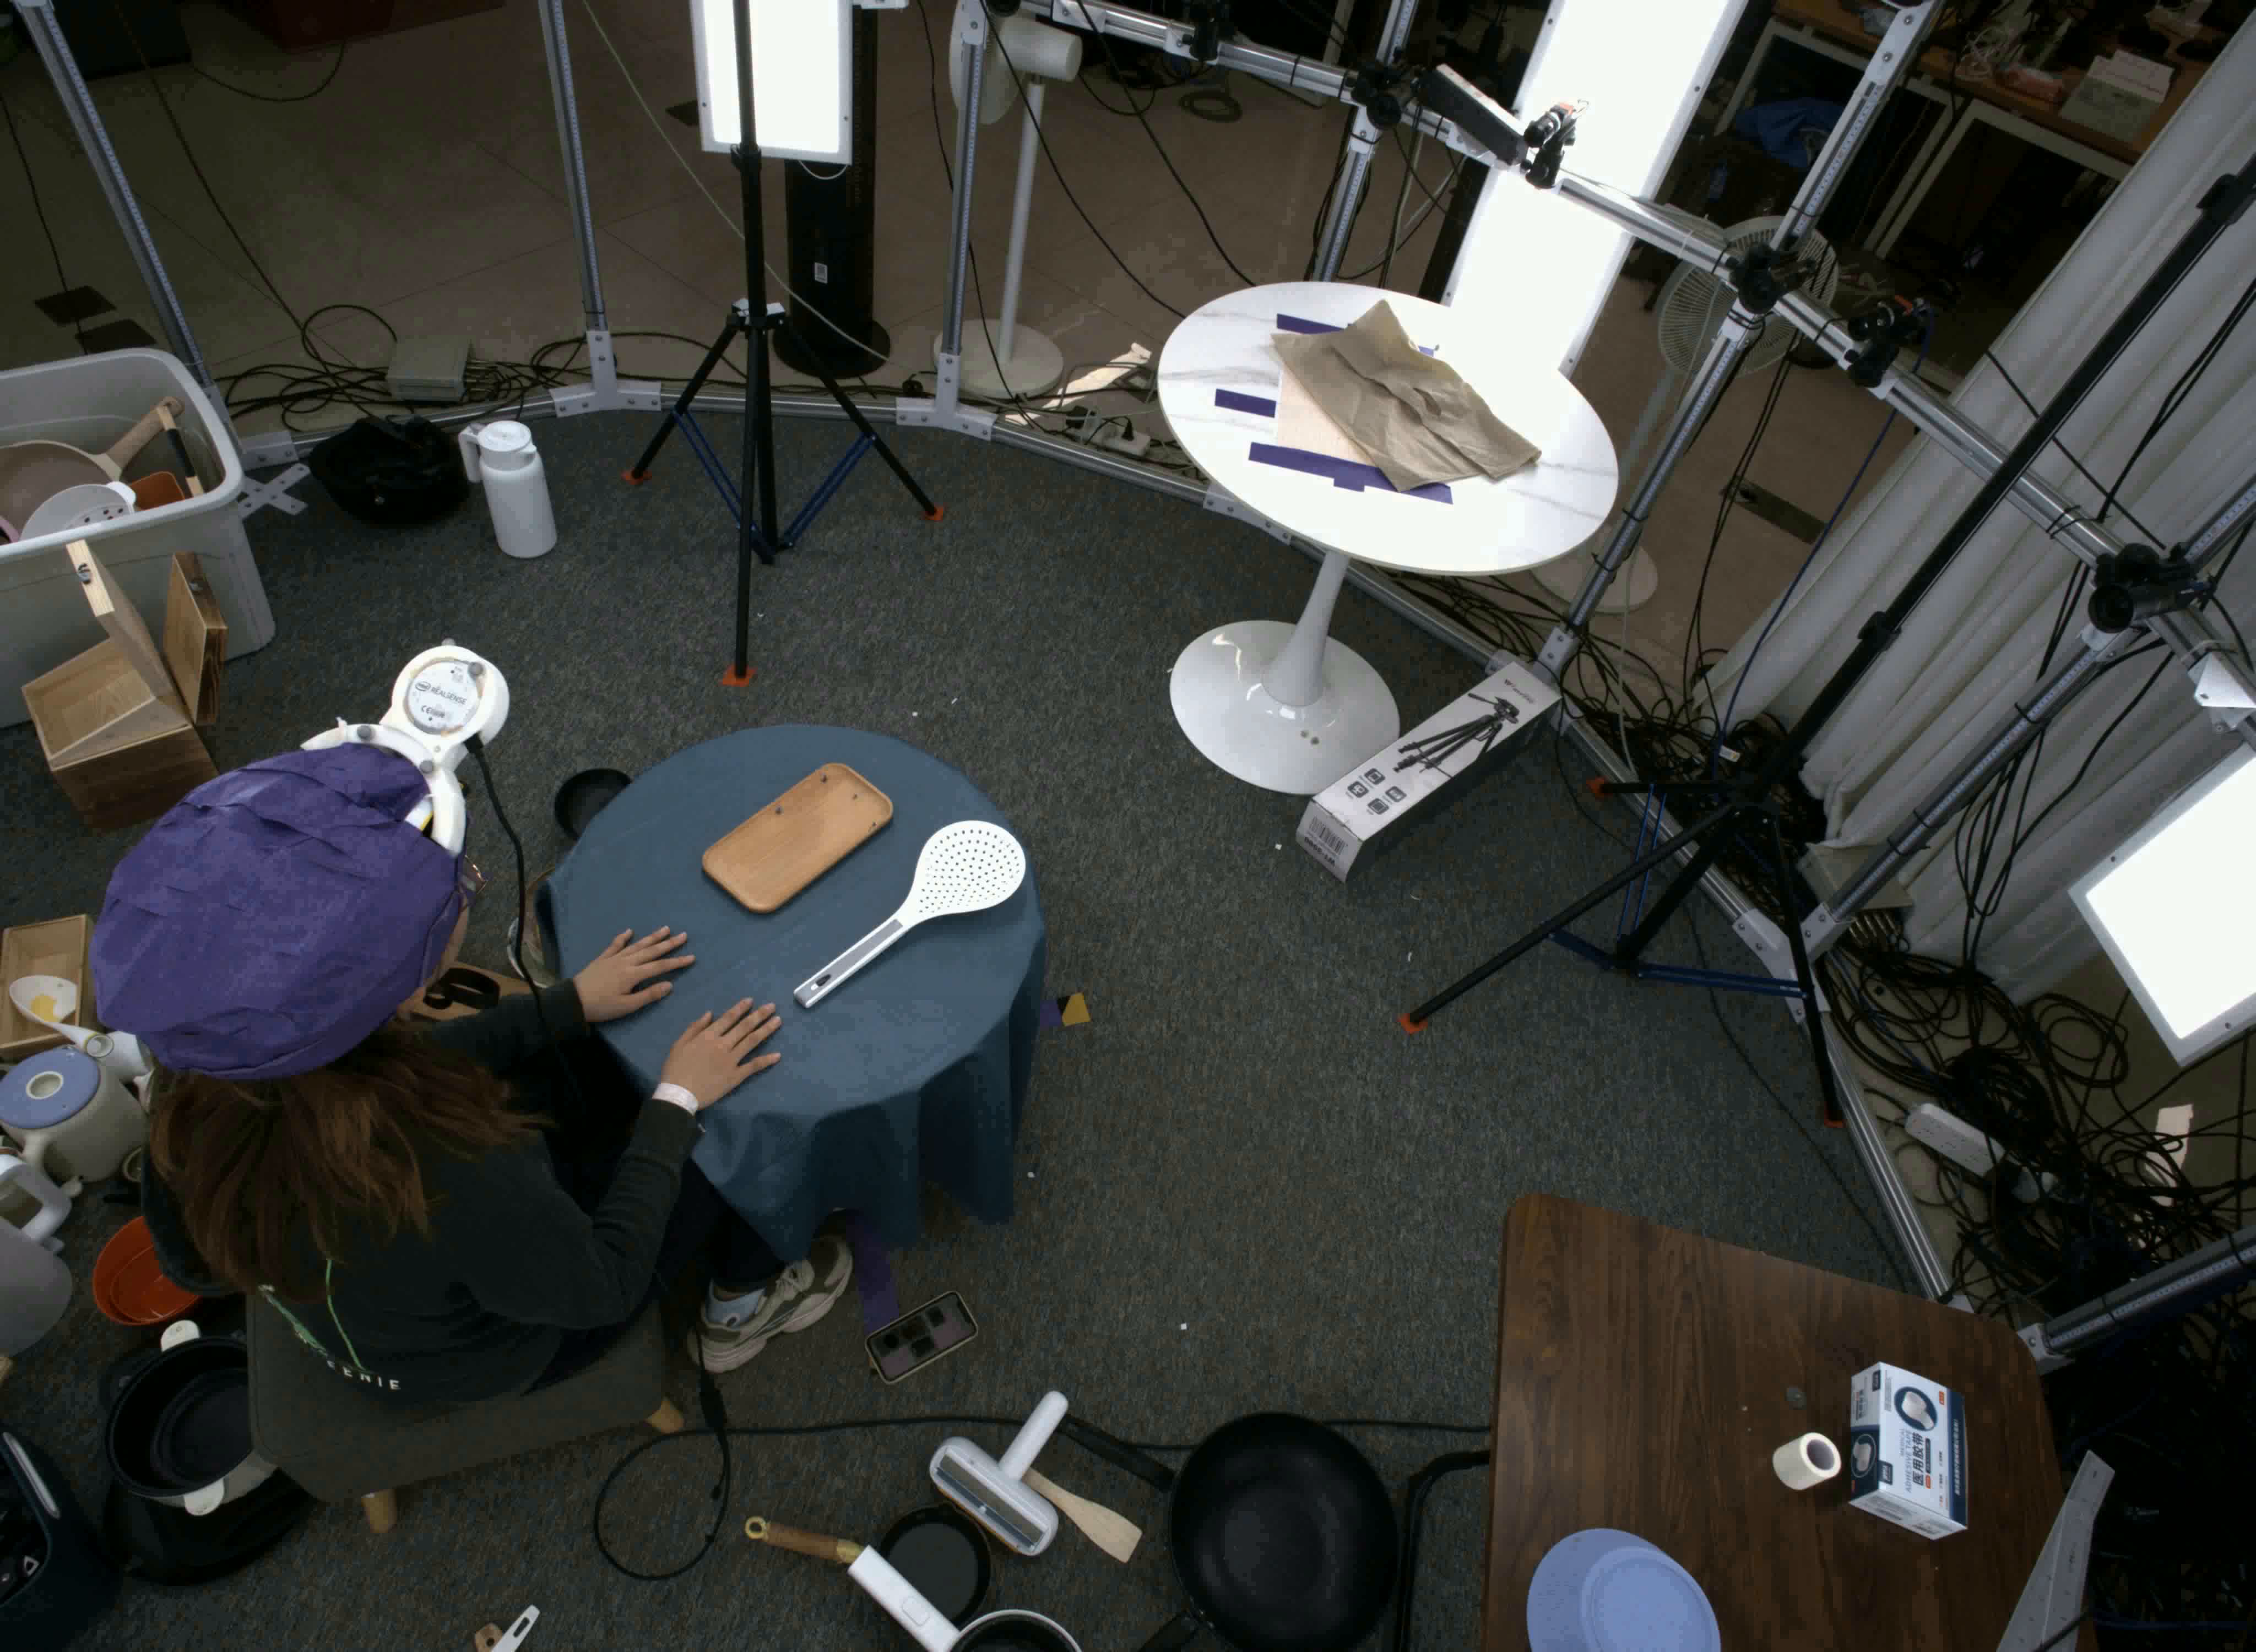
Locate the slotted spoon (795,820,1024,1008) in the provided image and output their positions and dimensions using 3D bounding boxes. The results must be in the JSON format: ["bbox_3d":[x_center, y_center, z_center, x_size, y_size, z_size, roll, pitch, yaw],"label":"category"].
[{"bbox_3d":[-0.278,0.112,1.654,0.133,0.047,0.350,40,55,19],"label":"slotted spoon"}]

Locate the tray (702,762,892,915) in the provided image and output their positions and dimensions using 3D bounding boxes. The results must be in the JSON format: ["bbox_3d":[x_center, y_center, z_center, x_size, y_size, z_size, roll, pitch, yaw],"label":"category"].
[{"bbox_3d":[-0.432,0.013,1.707,0.127,0.023,0.251,36,54,16],"label":"tray"}]
